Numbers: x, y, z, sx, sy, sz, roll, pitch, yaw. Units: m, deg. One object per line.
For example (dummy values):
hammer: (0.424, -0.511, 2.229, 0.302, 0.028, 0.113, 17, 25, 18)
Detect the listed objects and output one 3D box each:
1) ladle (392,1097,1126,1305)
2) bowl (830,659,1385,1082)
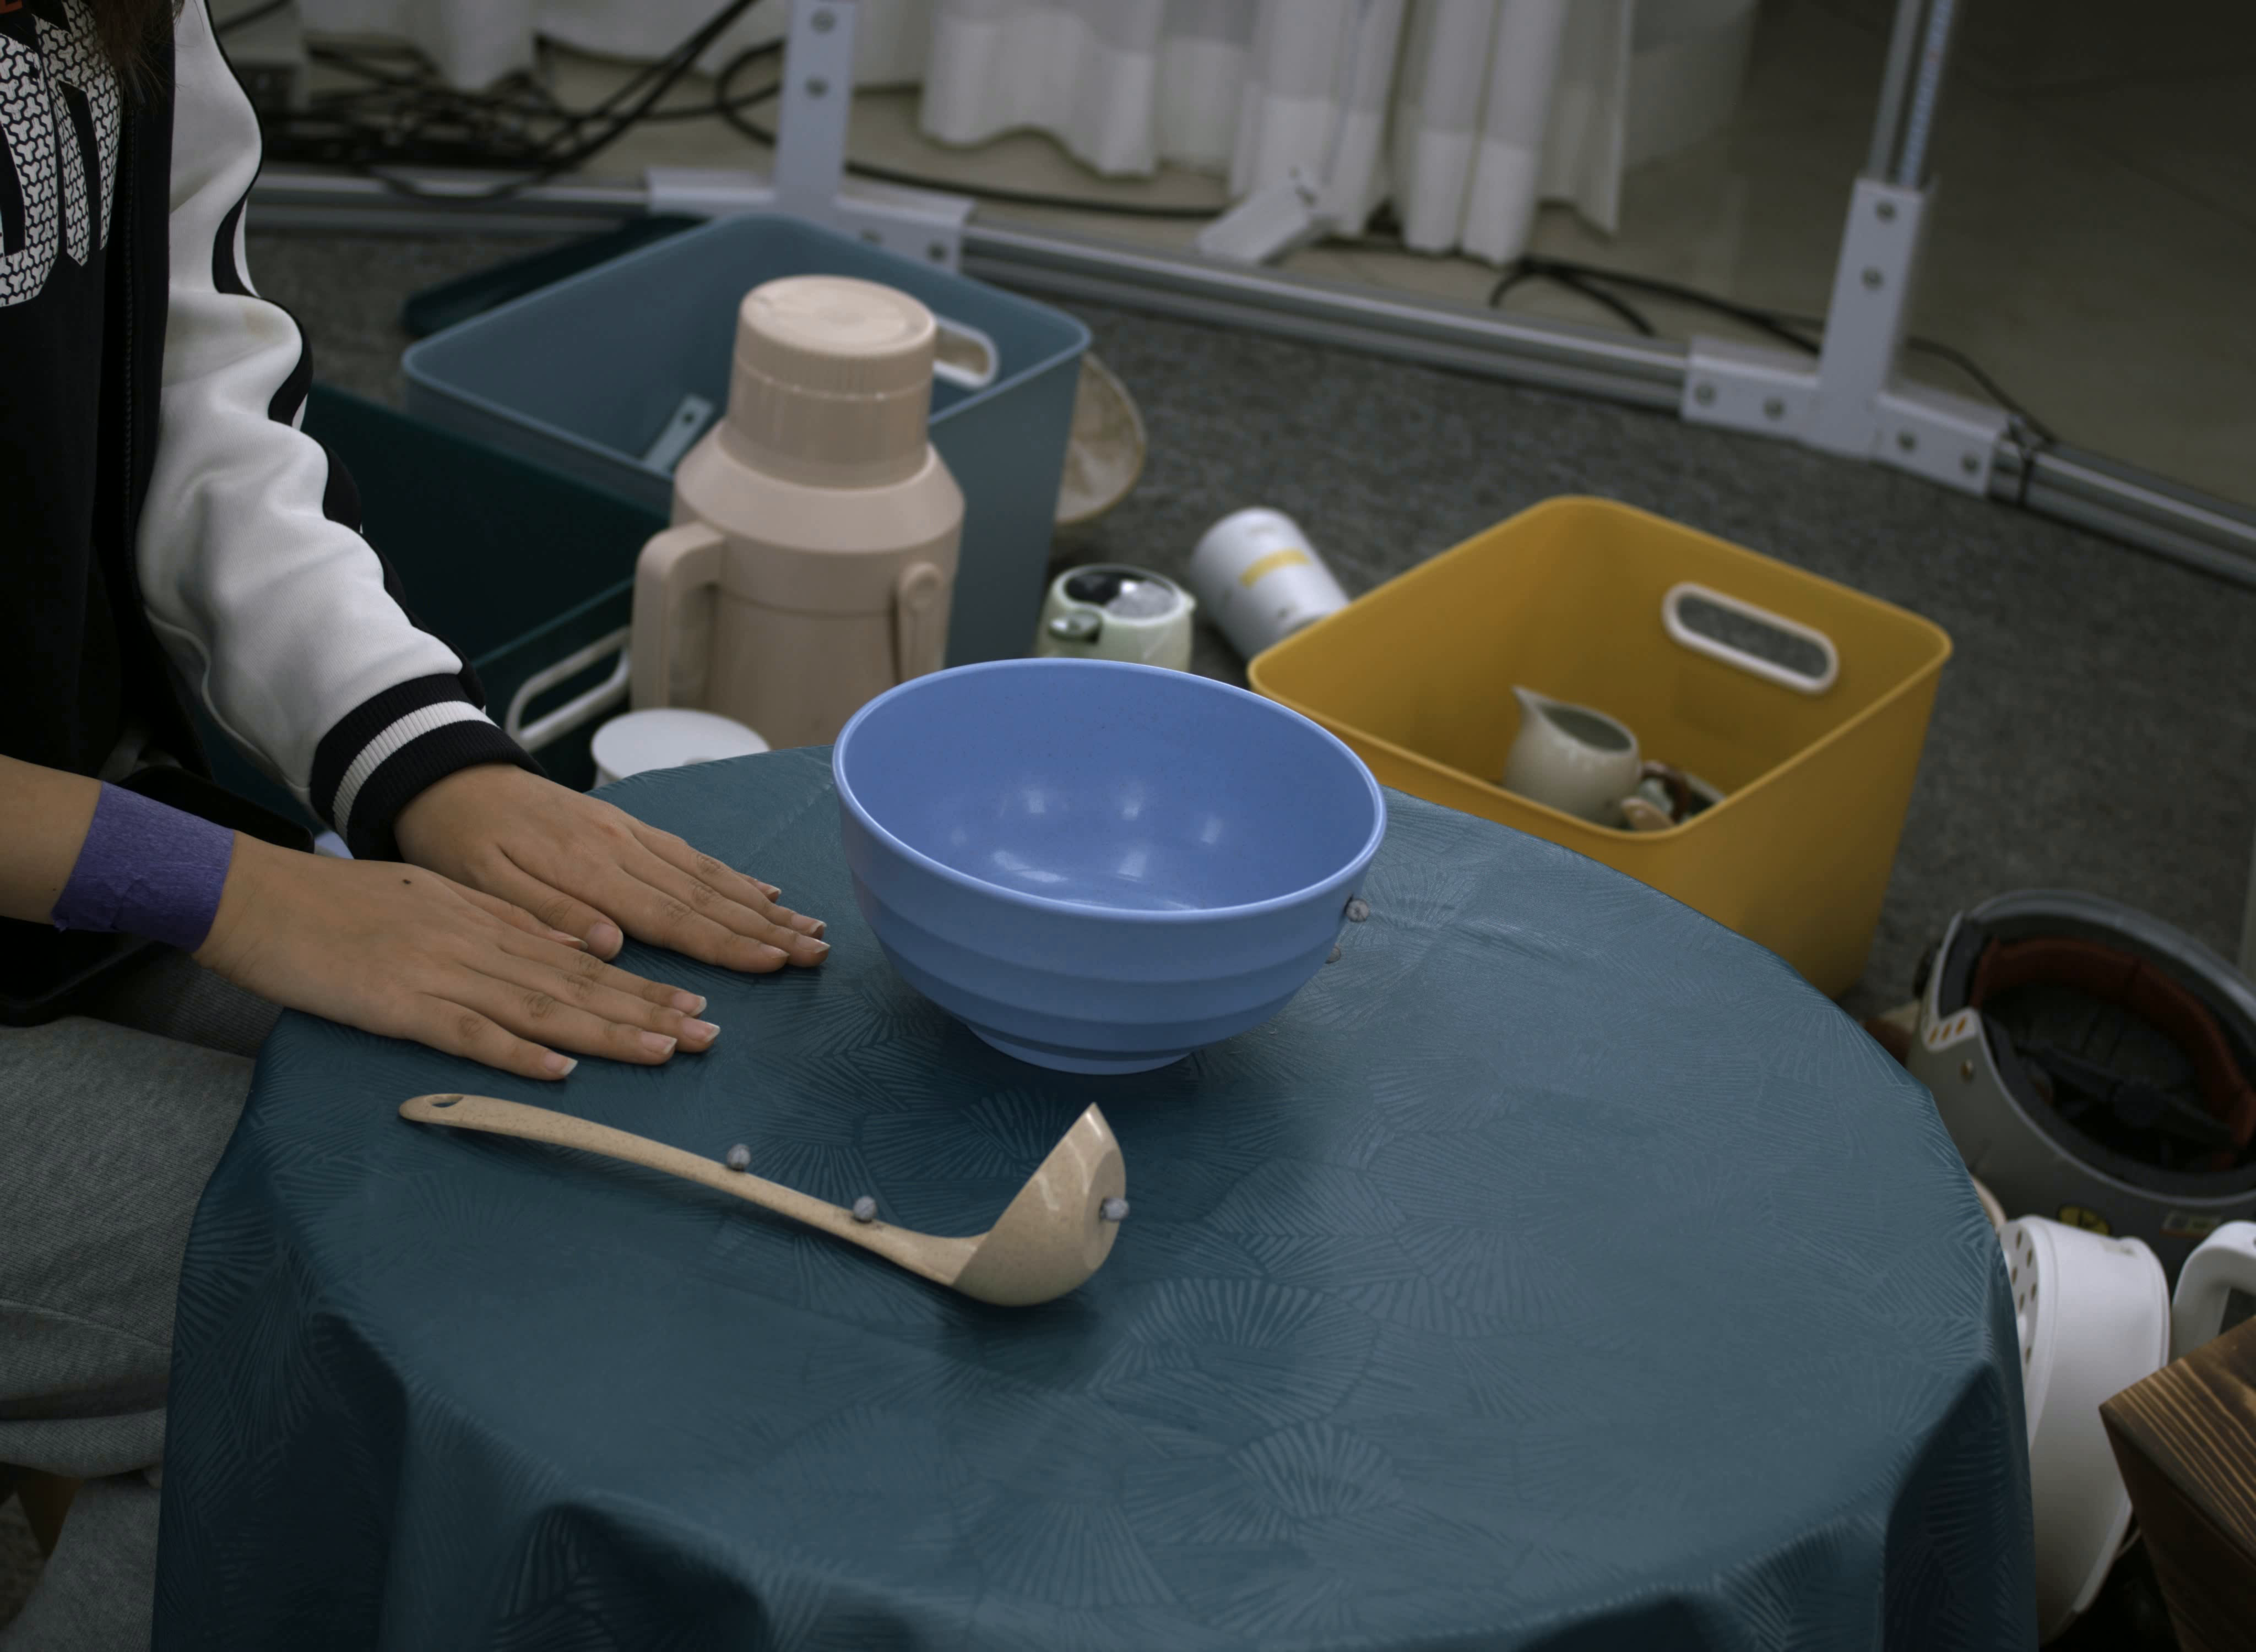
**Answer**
ladle: (-0.125, 0.096, 1.747, 0.255, 0.072, 0.072, 14, 26, 15)
bowl: (-0.011, 0.027, 1.891, 0.196, 0.095, 0.198, 4, 28, -3)
